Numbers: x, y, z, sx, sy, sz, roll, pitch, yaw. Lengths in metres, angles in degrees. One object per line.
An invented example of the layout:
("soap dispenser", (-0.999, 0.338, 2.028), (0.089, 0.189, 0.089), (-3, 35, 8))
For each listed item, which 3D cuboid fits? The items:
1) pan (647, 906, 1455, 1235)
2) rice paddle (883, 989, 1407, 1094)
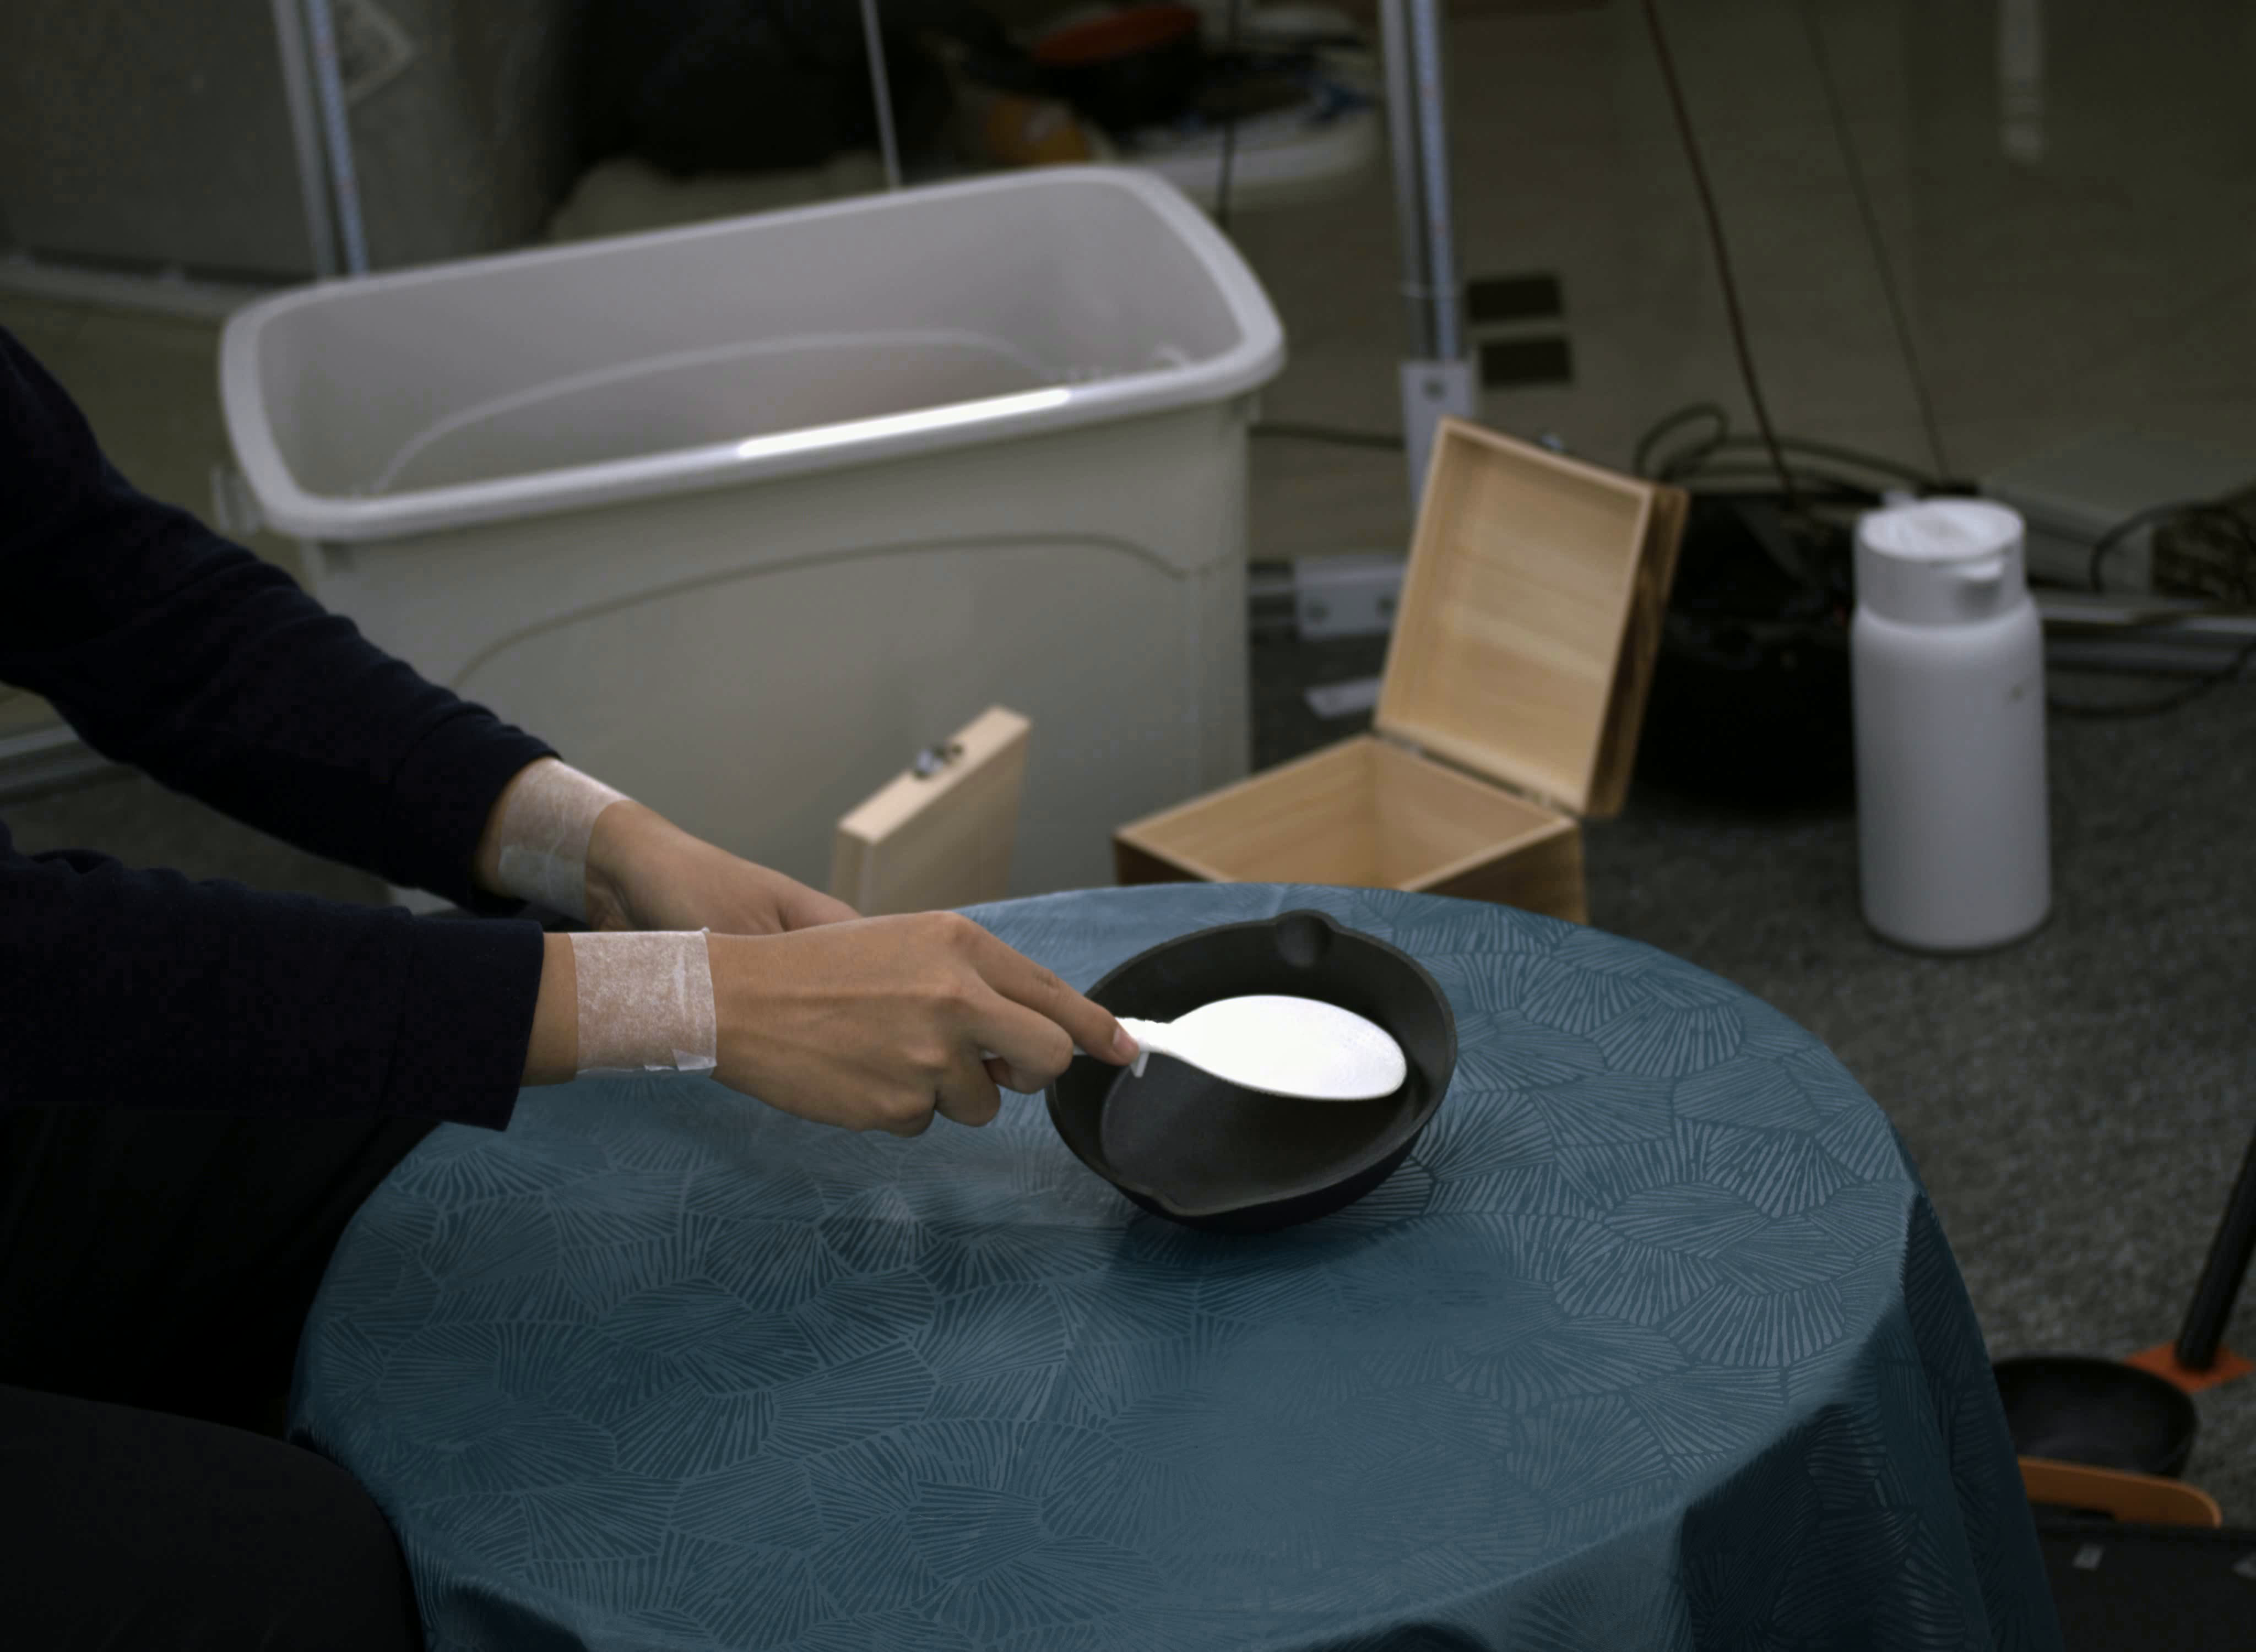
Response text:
("pan", (-0.032, 0.083, 2.167), (0.323, 0.050, 0.166), (8, 45, 19))
("rice paddle", (0.010, 0.079, 2.127), (0.205, 0.030, 0.067), (2, 32, -20))
